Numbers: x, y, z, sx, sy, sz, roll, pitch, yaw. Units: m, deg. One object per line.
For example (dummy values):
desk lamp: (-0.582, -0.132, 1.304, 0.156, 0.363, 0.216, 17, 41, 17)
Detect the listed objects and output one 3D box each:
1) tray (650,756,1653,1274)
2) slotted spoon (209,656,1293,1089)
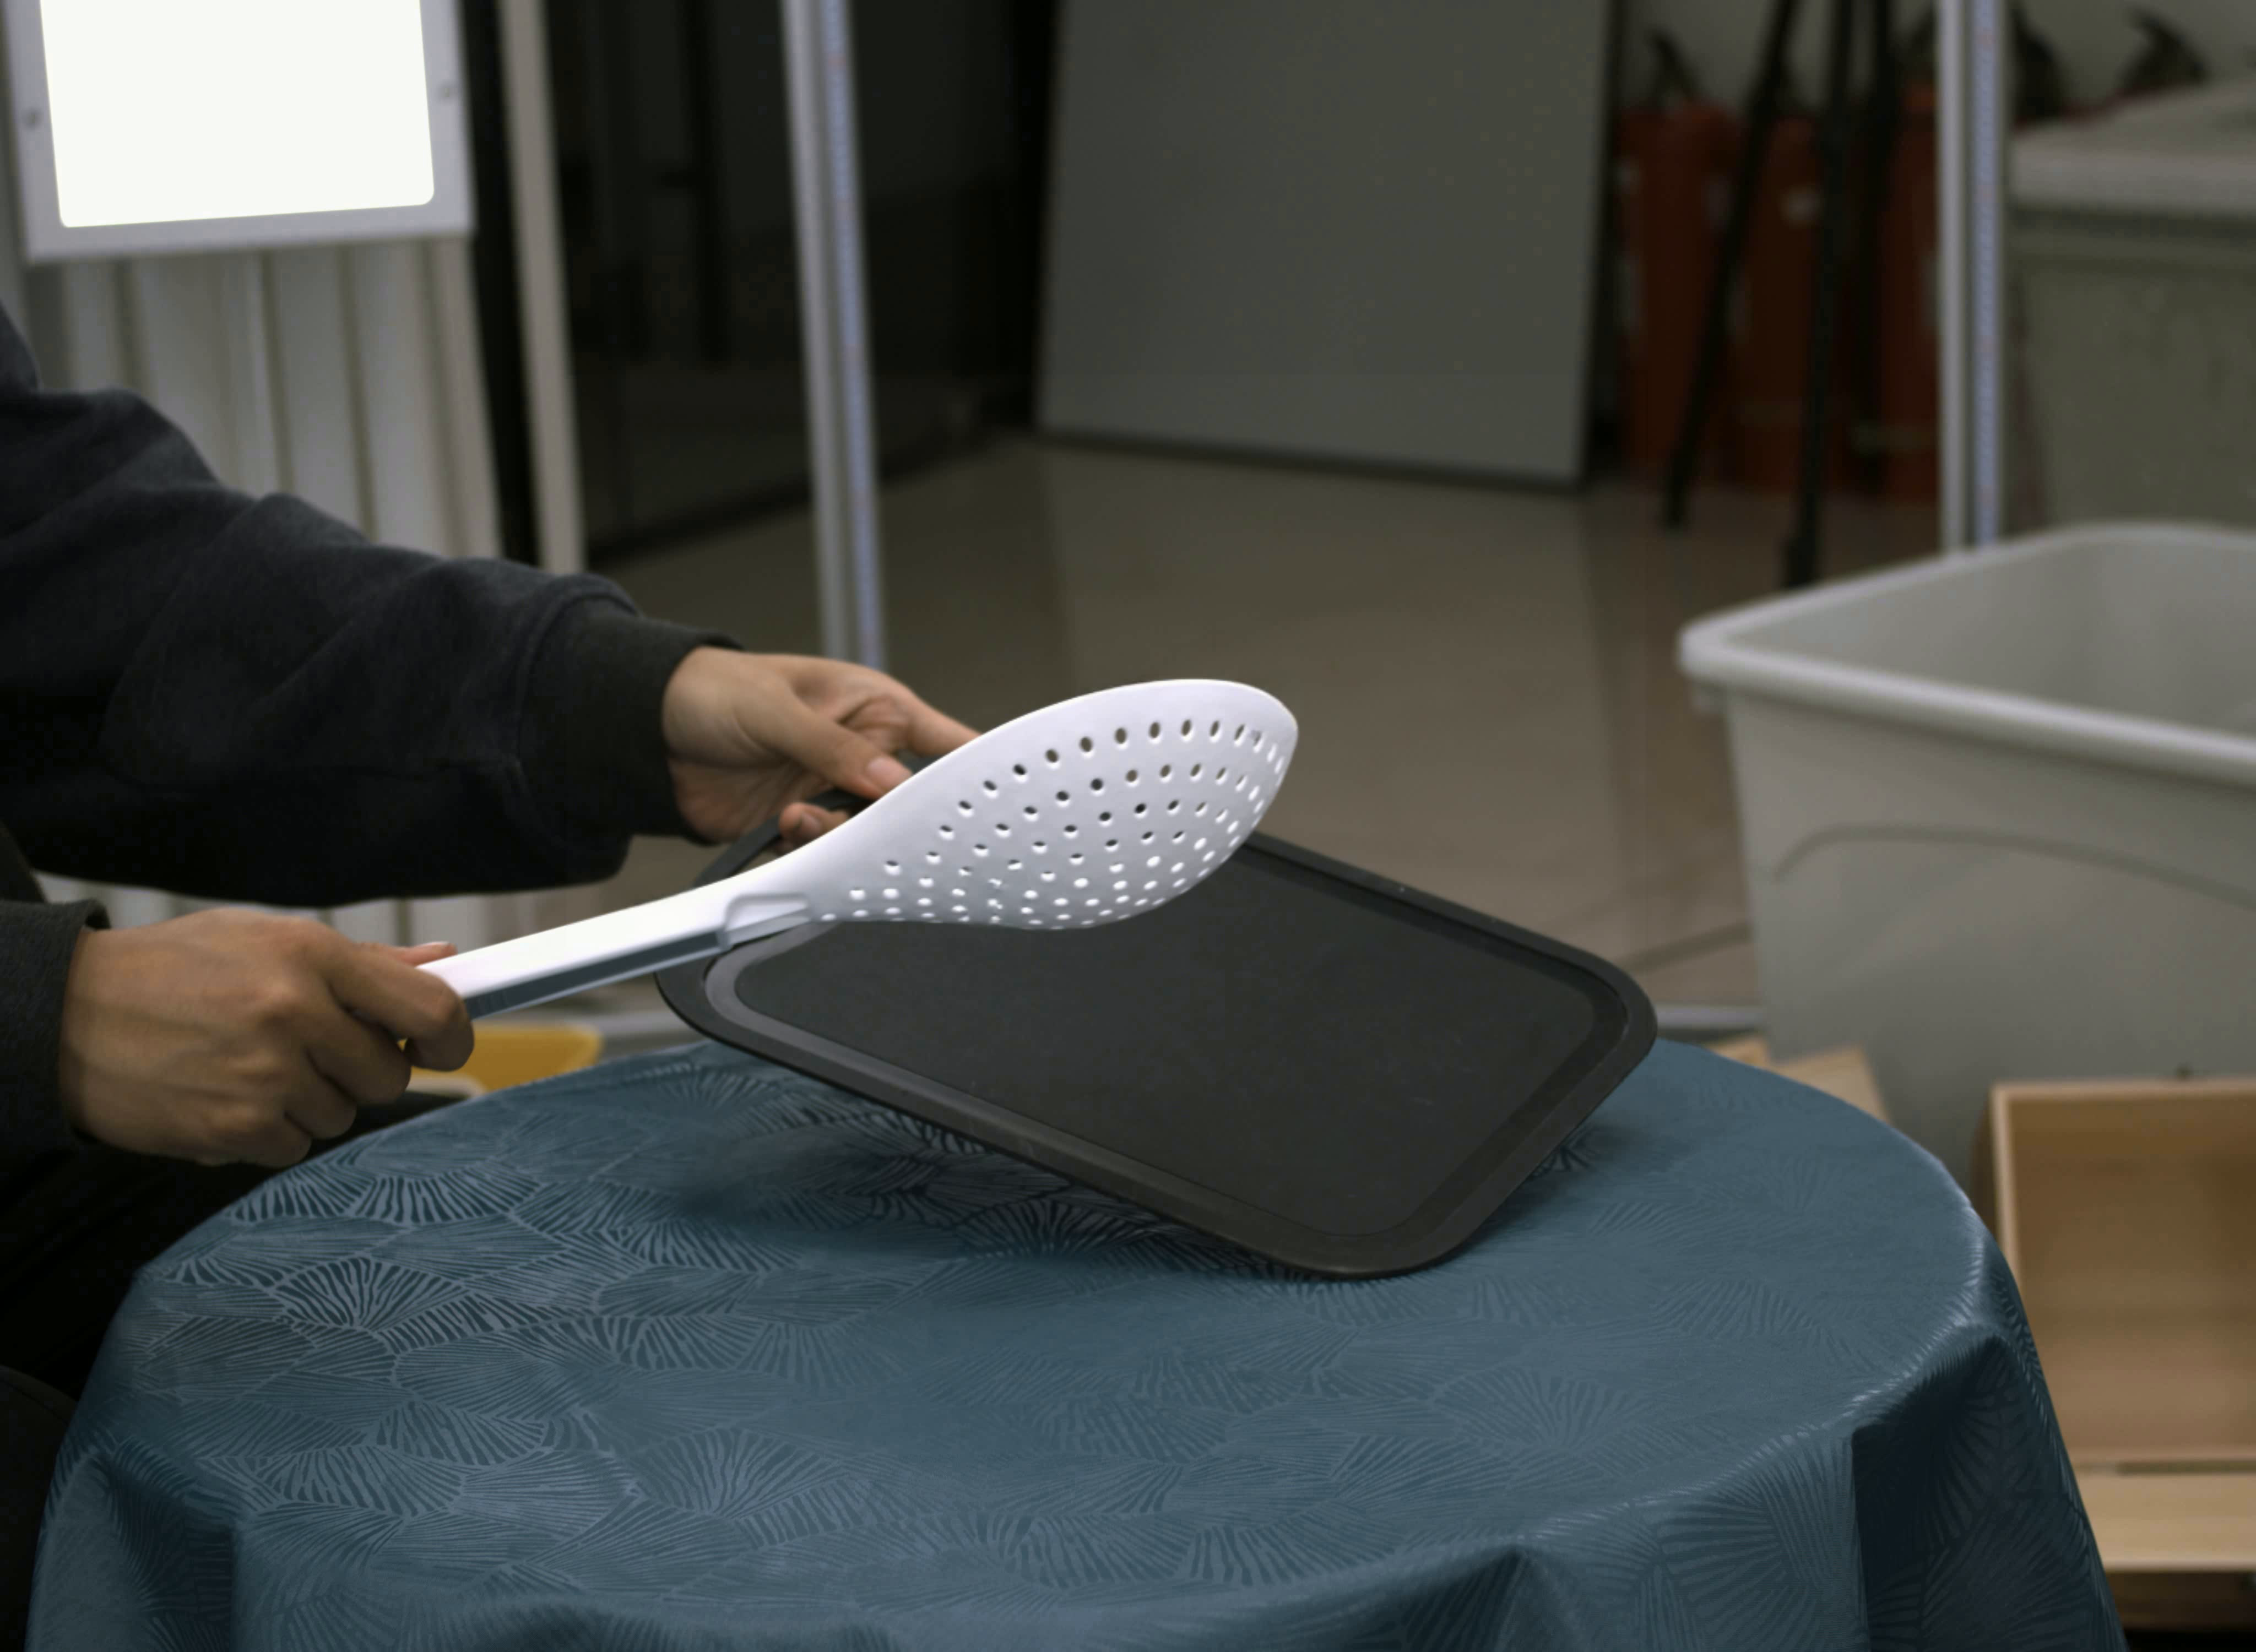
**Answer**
tray: (0.000, 0.054, 1.797, 0.327, 0.010, 0.208, 20, 37, 27)
slotted spoon: (-0.113, 0.021, 1.663, 0.345, 0.046, 0.136, -12, -25, 0)
